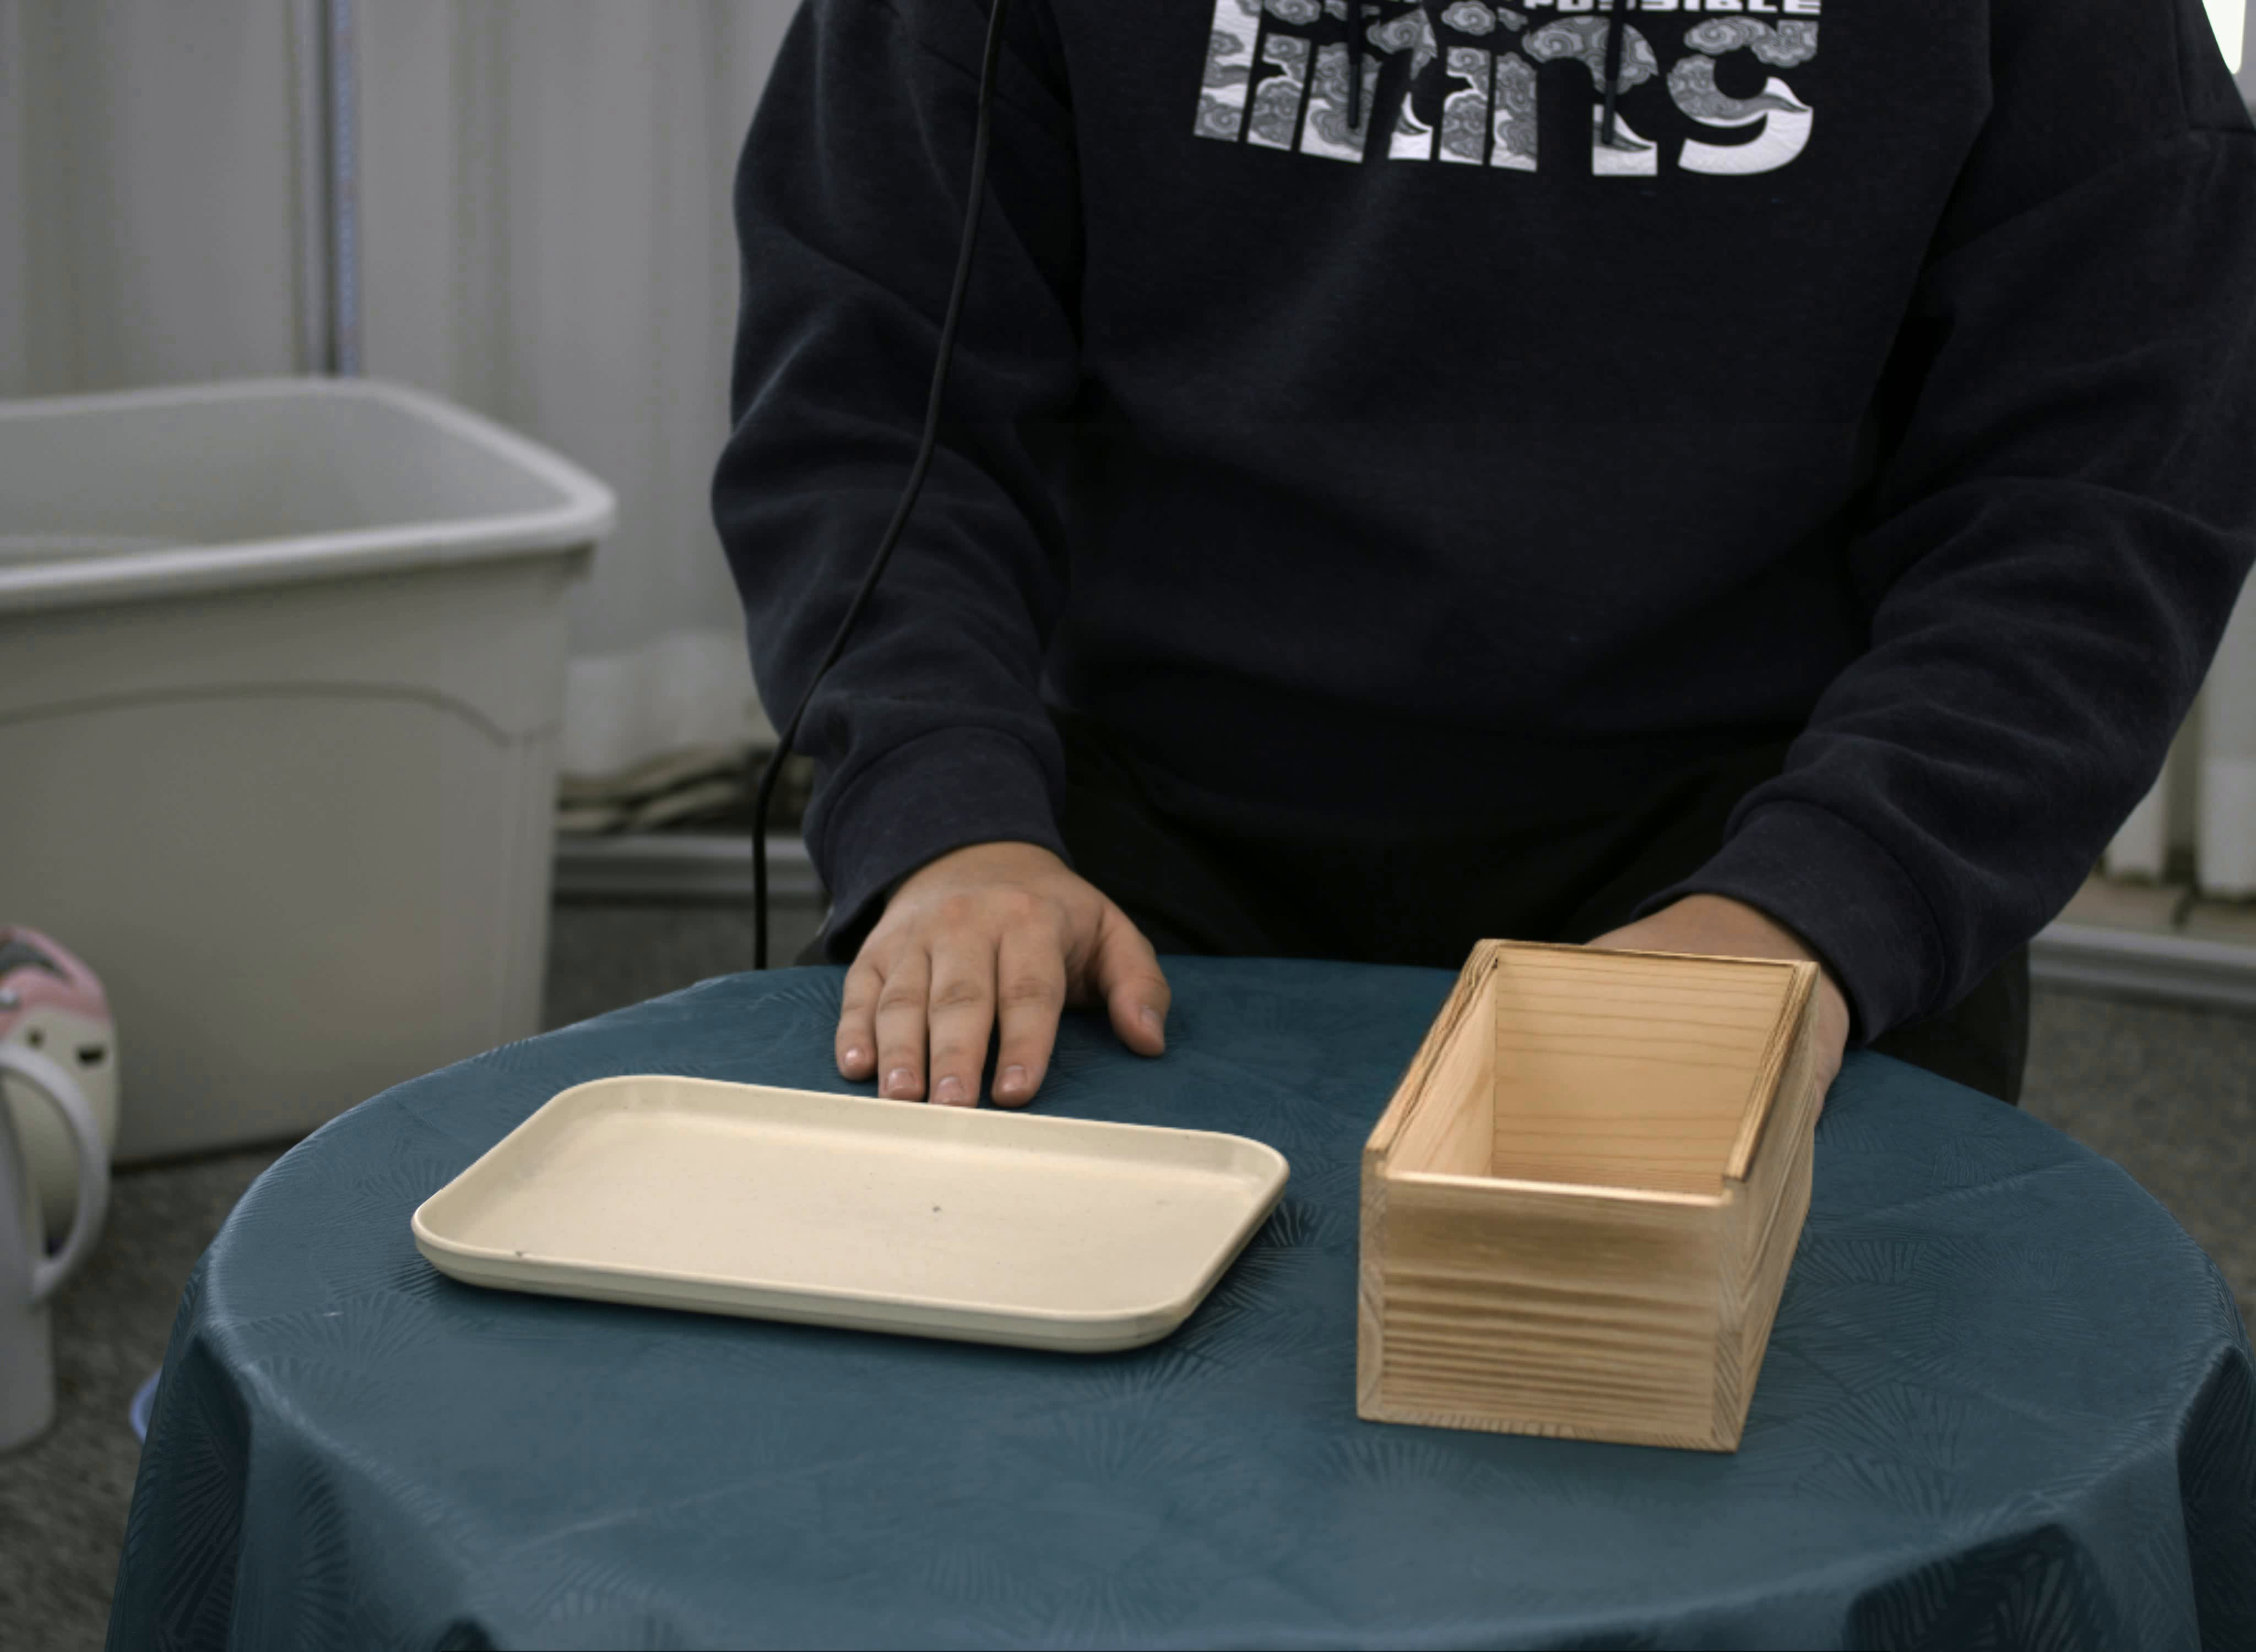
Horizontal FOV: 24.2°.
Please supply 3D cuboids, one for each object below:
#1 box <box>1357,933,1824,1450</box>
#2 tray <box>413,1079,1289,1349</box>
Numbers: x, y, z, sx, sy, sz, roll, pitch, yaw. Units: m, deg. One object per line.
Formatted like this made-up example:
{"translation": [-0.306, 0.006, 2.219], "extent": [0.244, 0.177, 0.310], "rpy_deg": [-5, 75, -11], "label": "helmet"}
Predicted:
{"translation": [0.137, 0.101, 1.523], "extent": [0.107, 0.081, 0.211], "rpy_deg": [4, 16, 11], "label": "box"}
{"translation": [-0.080, 0.116, 1.578], "extent": [0.238, 0.017, 0.171], "rpy_deg": [5, 15, 14], "label": "tray"}
